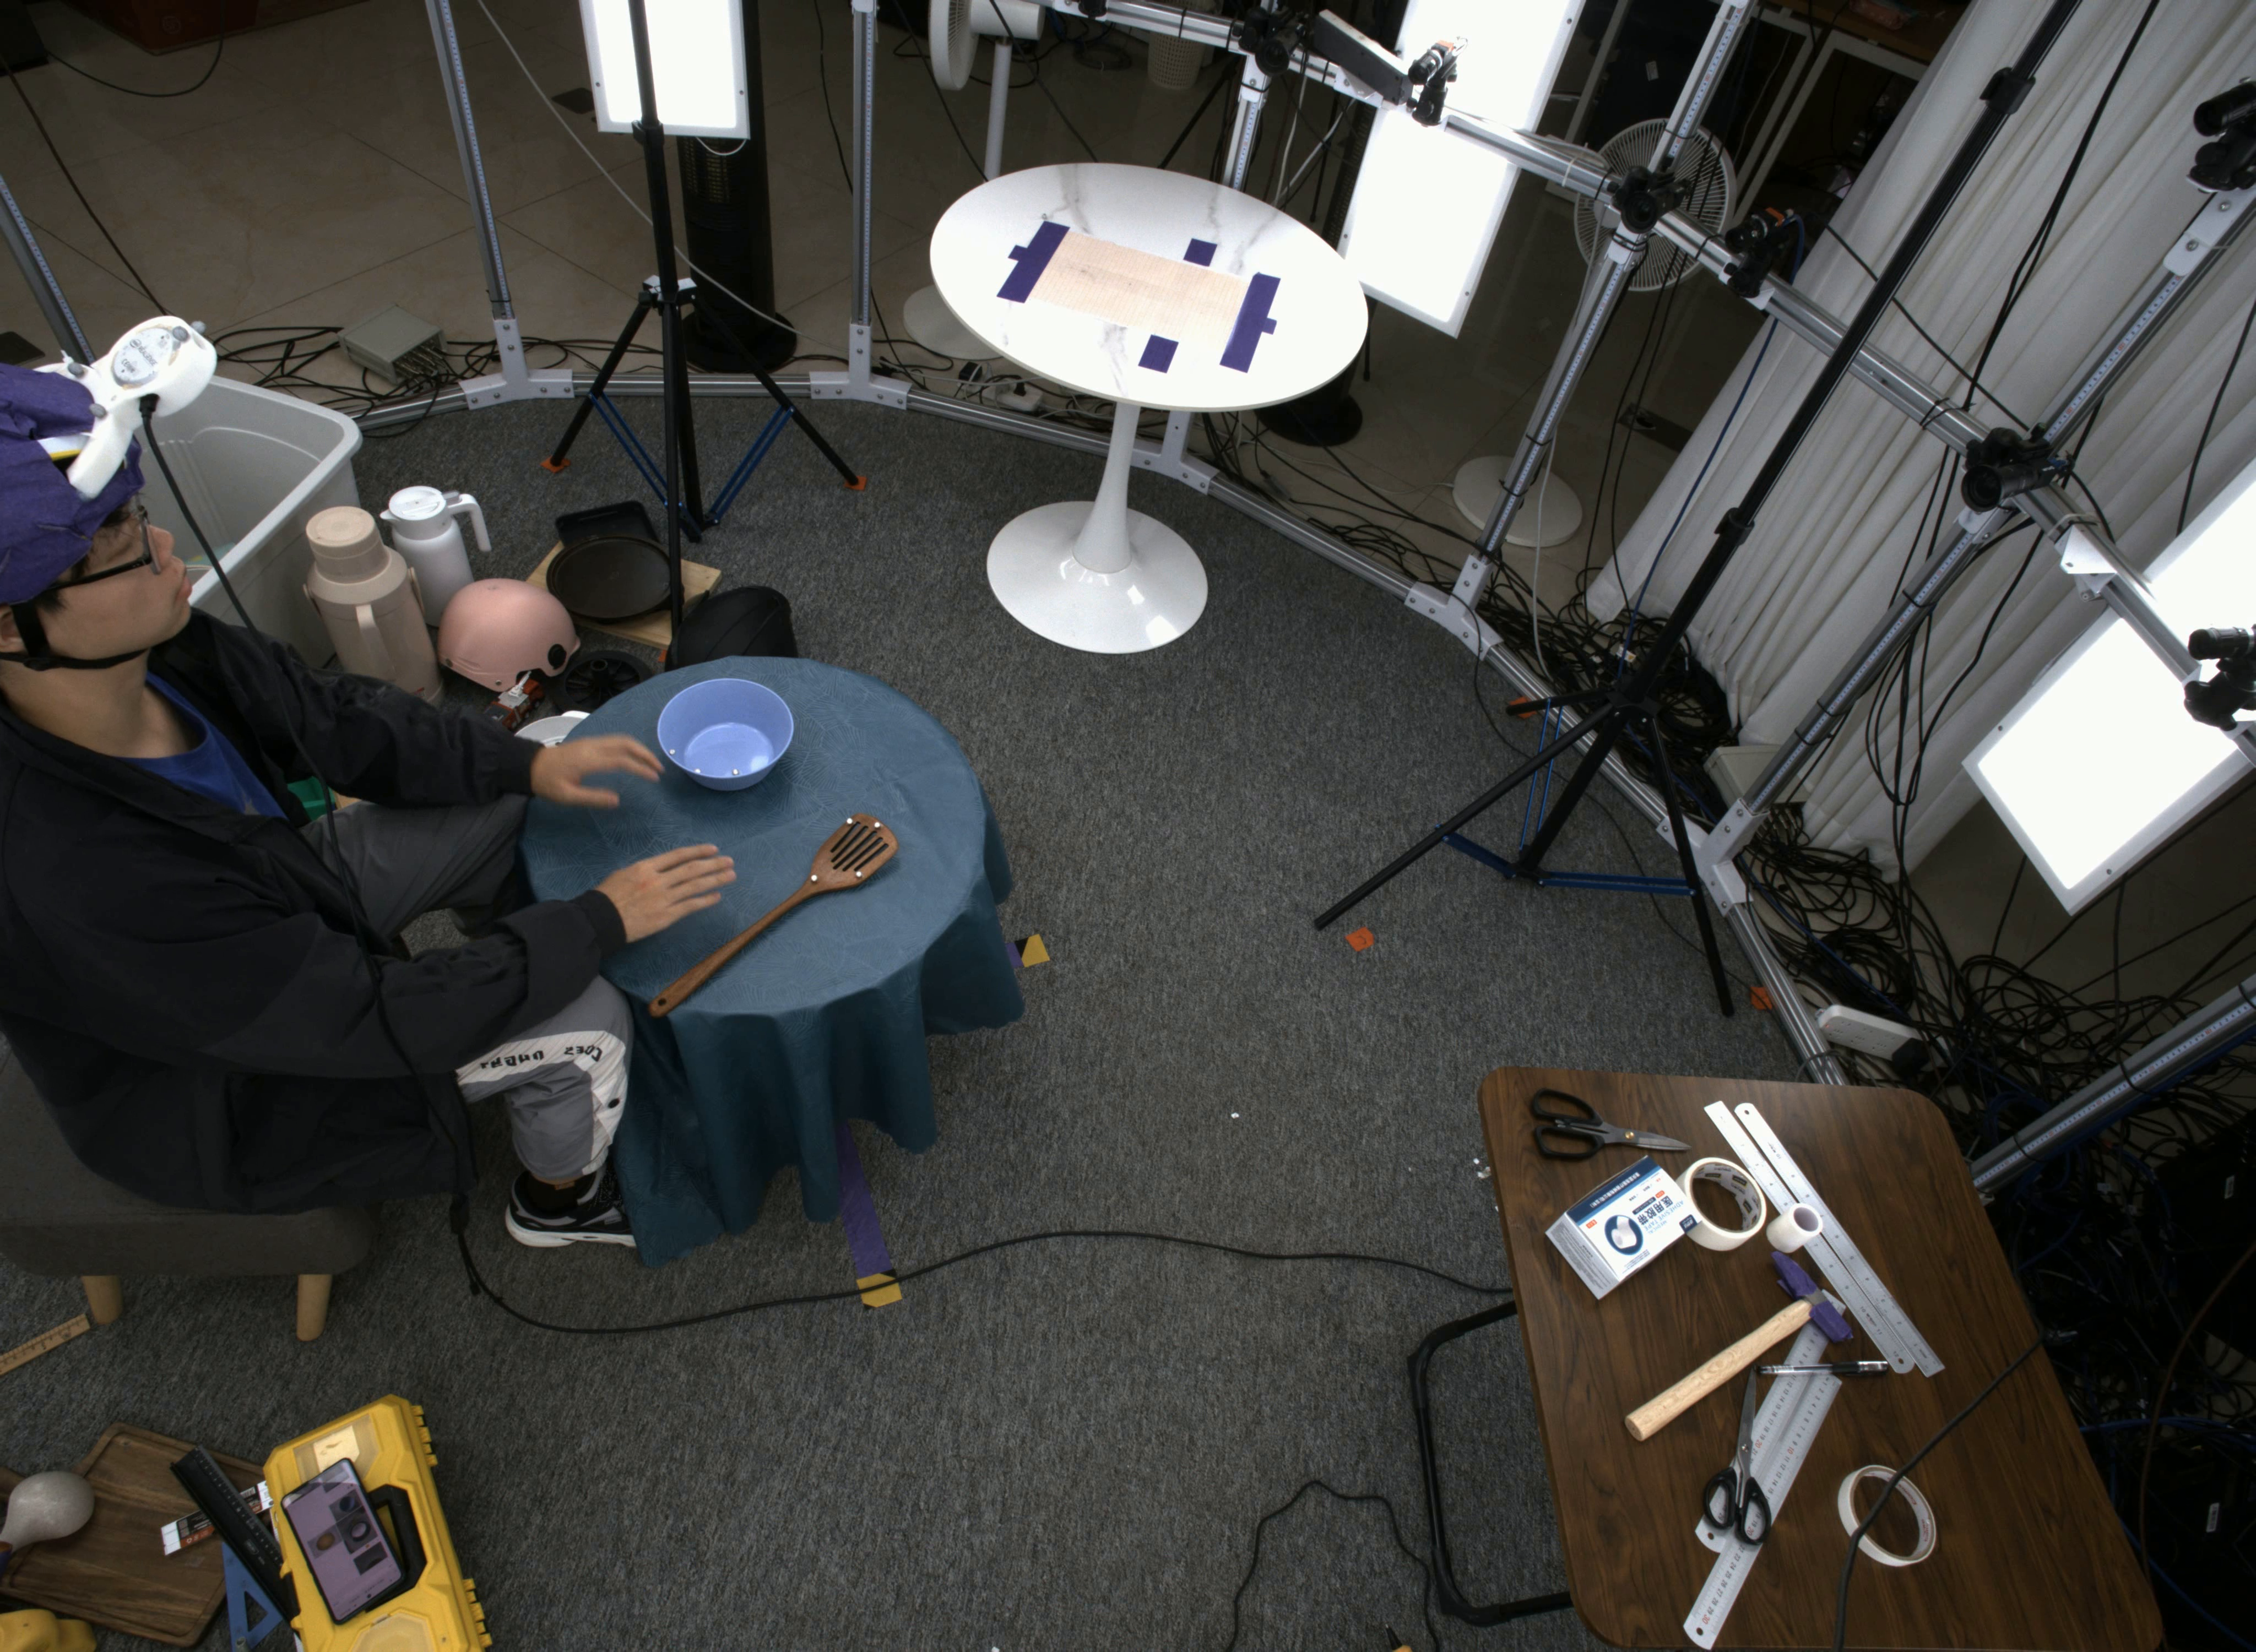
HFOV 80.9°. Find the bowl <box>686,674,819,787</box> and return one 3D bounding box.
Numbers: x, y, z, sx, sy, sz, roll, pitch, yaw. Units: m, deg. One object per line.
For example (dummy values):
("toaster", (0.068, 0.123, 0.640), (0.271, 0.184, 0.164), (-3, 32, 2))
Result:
("bowl", (-0.507, -0.119, 1.756), (0.175, 0.072, 0.173), (7, 53, -7))

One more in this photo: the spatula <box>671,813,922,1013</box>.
("spatula", (-0.420, 0.110, 1.641), (0.083, 0.024, 0.387), (39, 56, 16))
